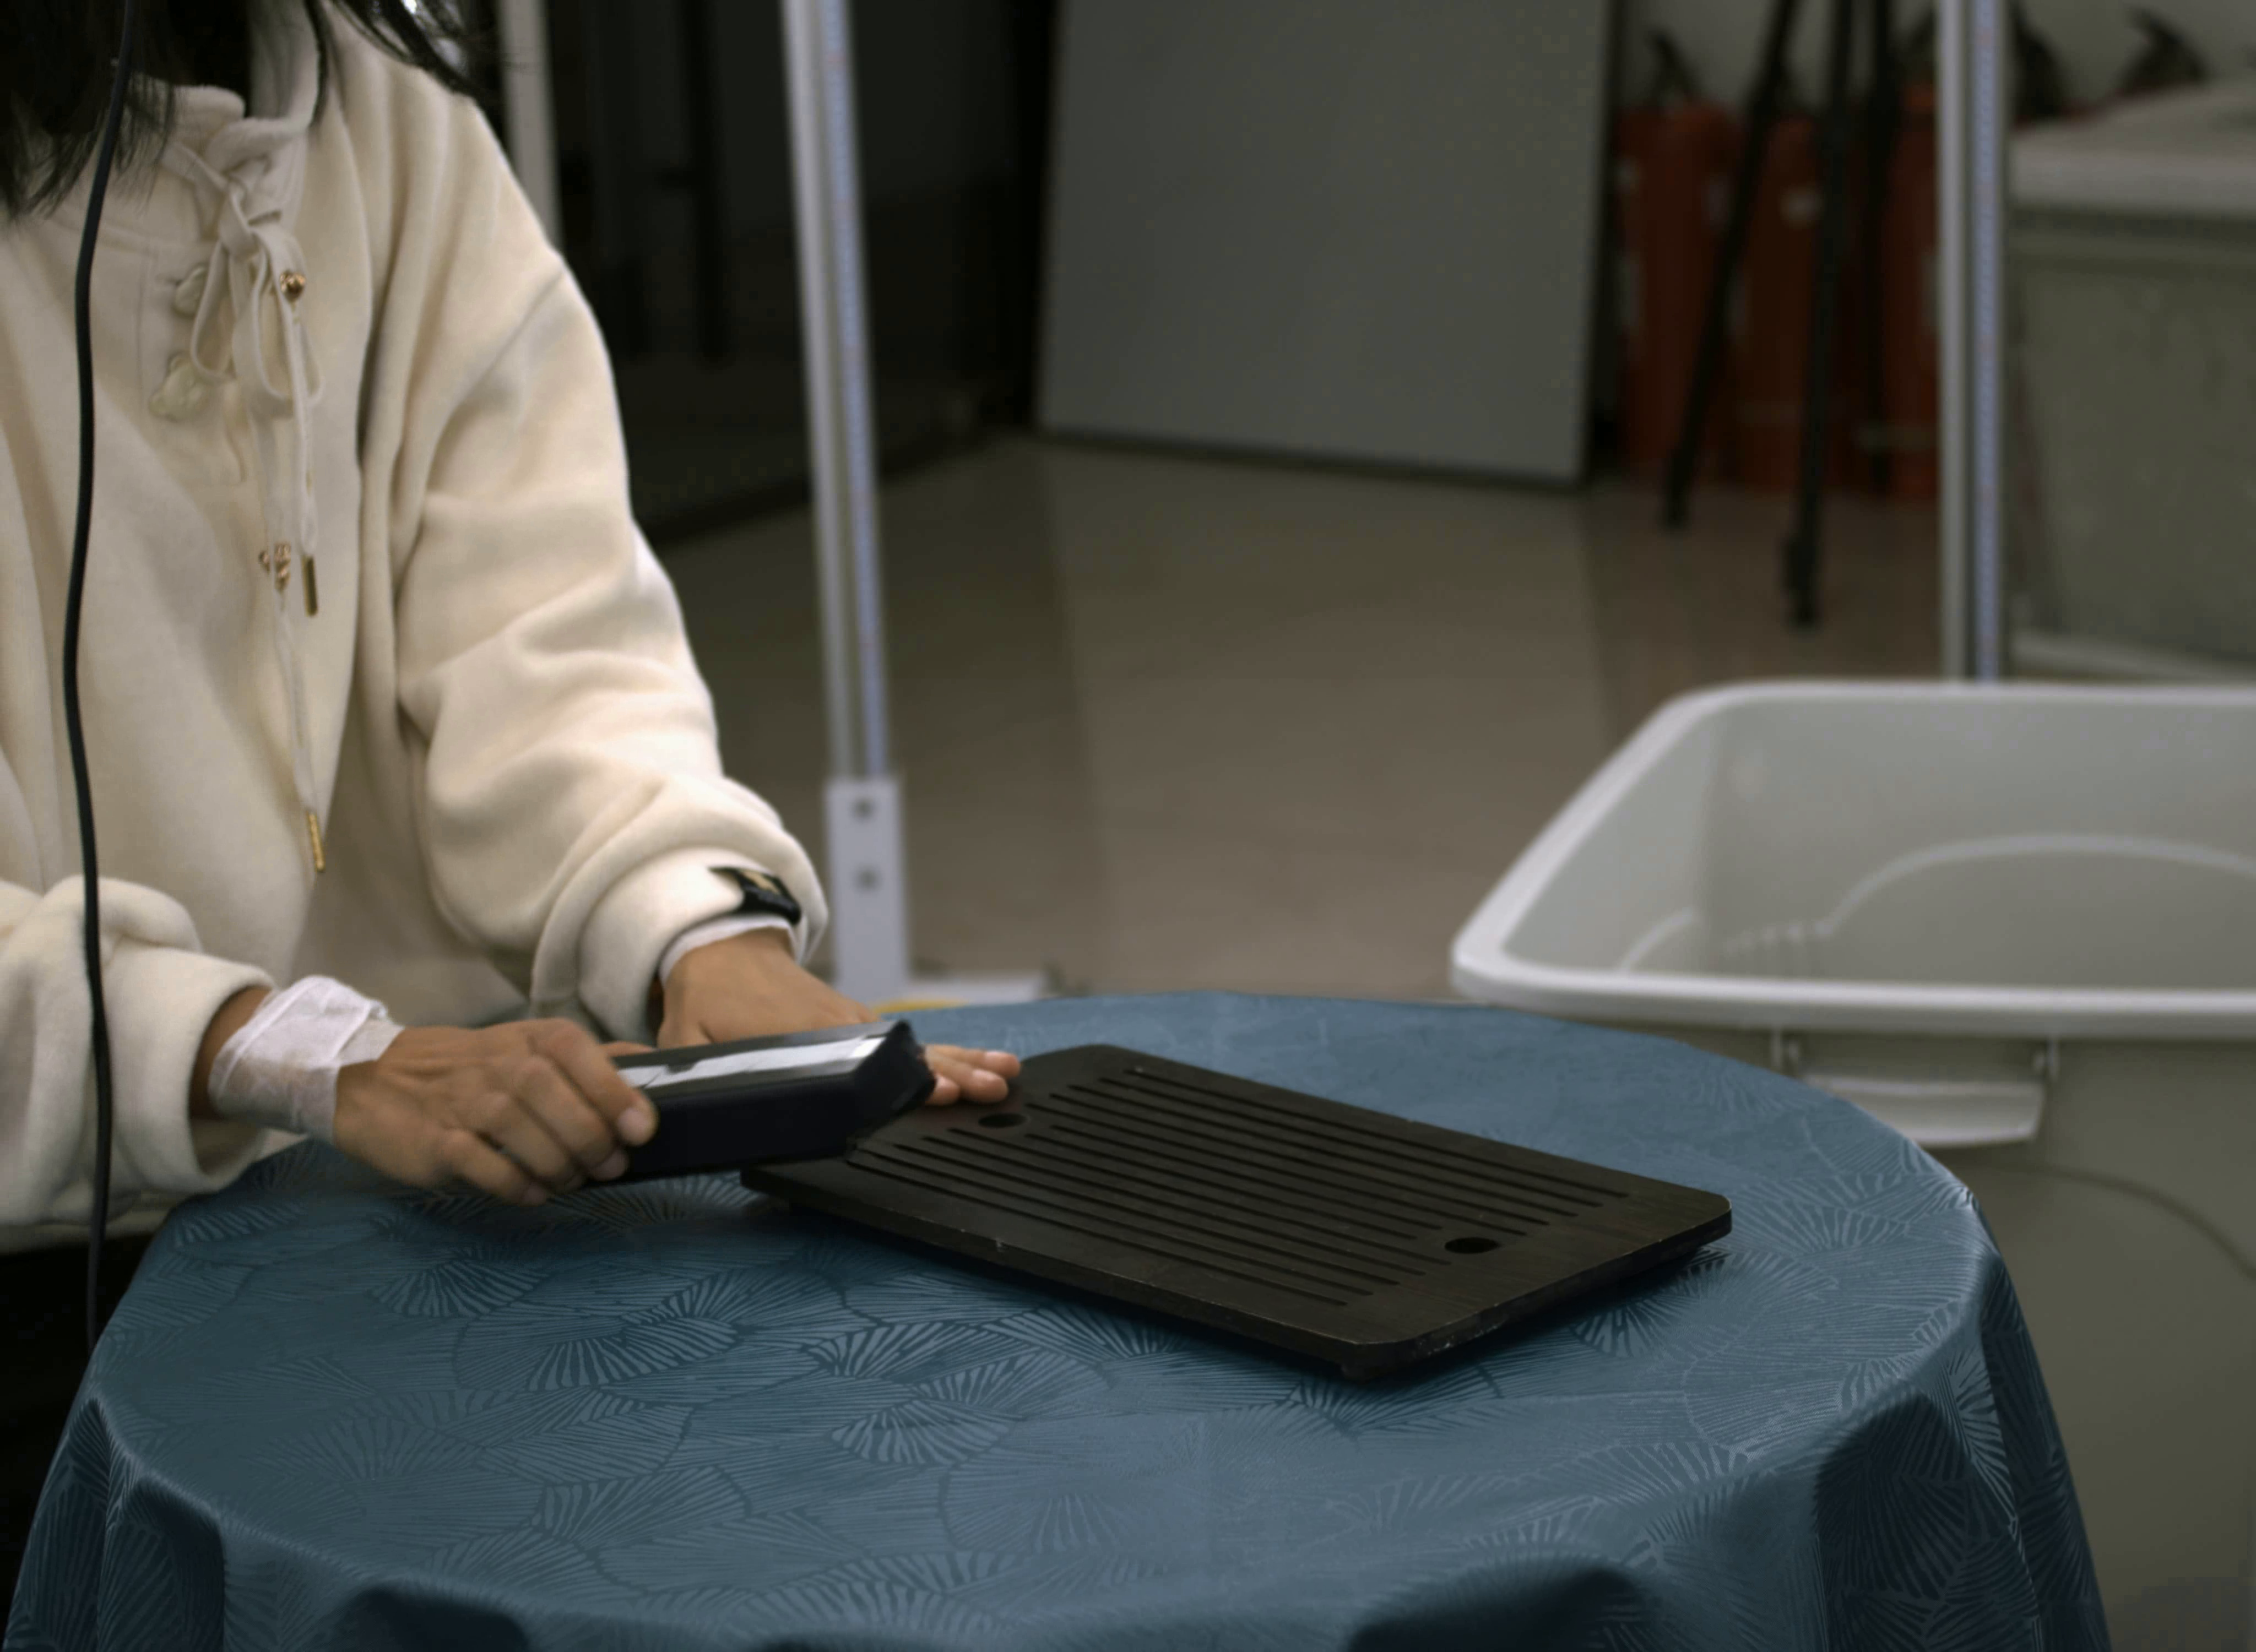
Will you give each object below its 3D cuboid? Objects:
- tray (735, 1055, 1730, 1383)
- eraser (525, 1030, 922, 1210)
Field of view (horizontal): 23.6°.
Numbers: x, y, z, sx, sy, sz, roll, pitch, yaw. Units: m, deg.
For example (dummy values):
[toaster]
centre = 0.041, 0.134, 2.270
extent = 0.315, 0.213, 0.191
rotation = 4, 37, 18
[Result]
[tray]
centre = 0.029, 0.122, 1.719
extent = 0.166, 0.019, 0.309
rotation = -16, 18, -40
[eraser]
centre = -0.130, 0.095, 1.755
extent = 0.126, 0.030, 0.053
rotation = -11, 15, 27
